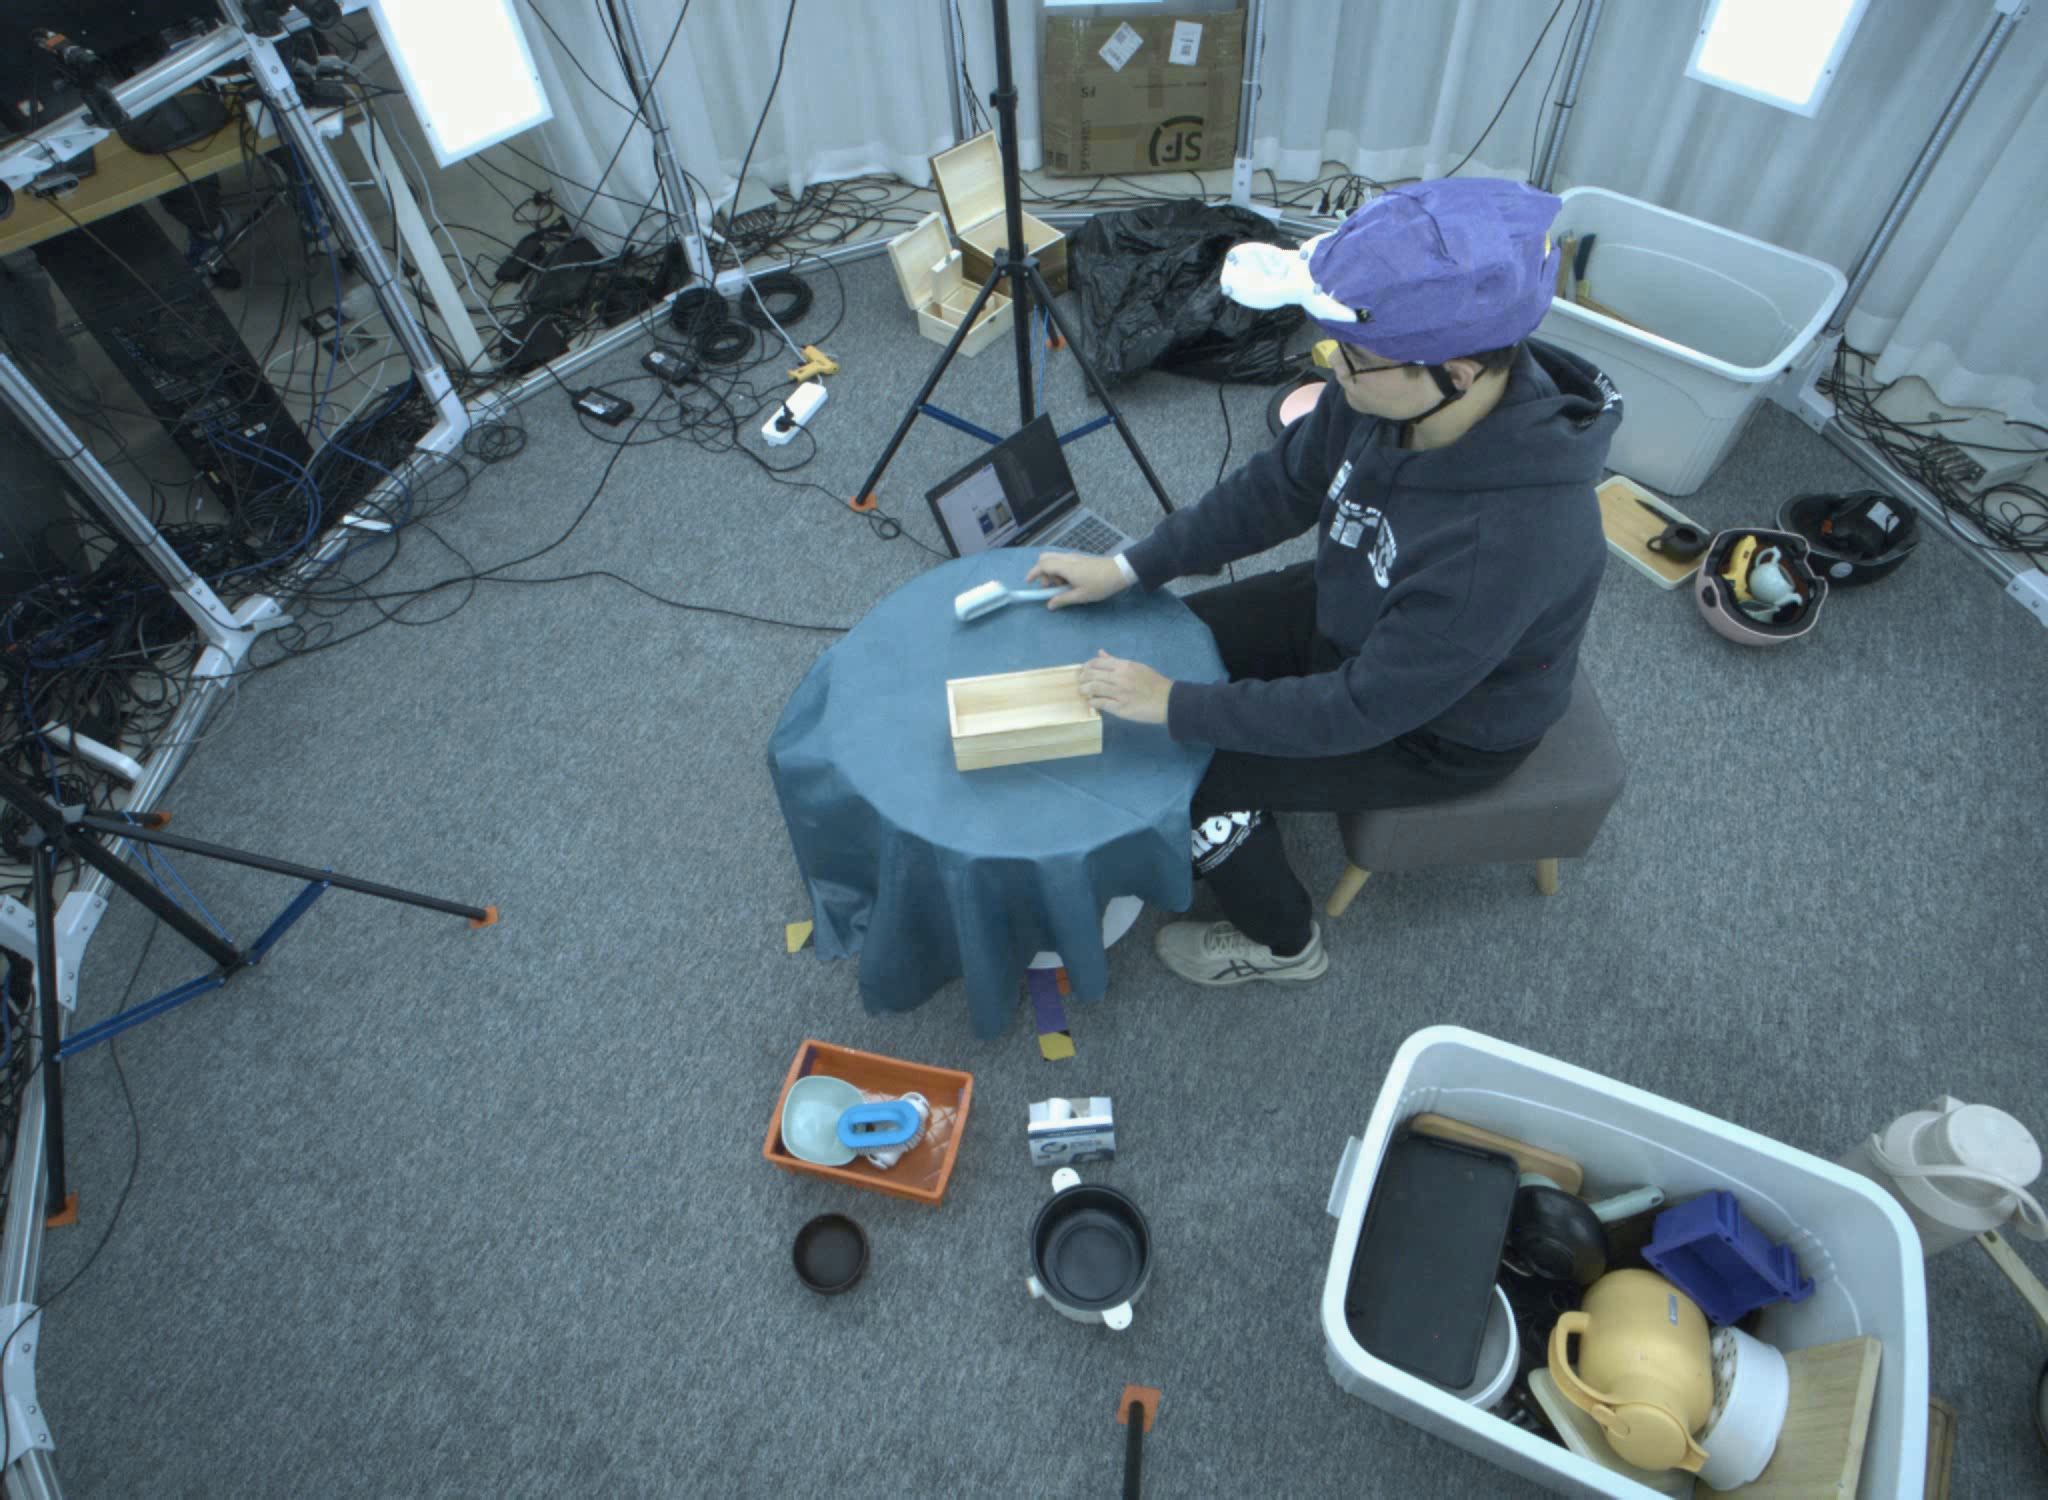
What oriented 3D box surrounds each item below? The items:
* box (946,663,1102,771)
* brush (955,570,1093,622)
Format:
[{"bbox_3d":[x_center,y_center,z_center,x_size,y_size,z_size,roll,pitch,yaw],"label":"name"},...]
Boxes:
[{"bbox_3d":[0.000,-0.048,1.772,0.212,0.081,0.106,-8,55,-3],"label":"box"},{"bbox_3d":[0.001,-0.254,1.944,0.230,0.038,0.049,-16,54,-11],"label":"brush"}]
